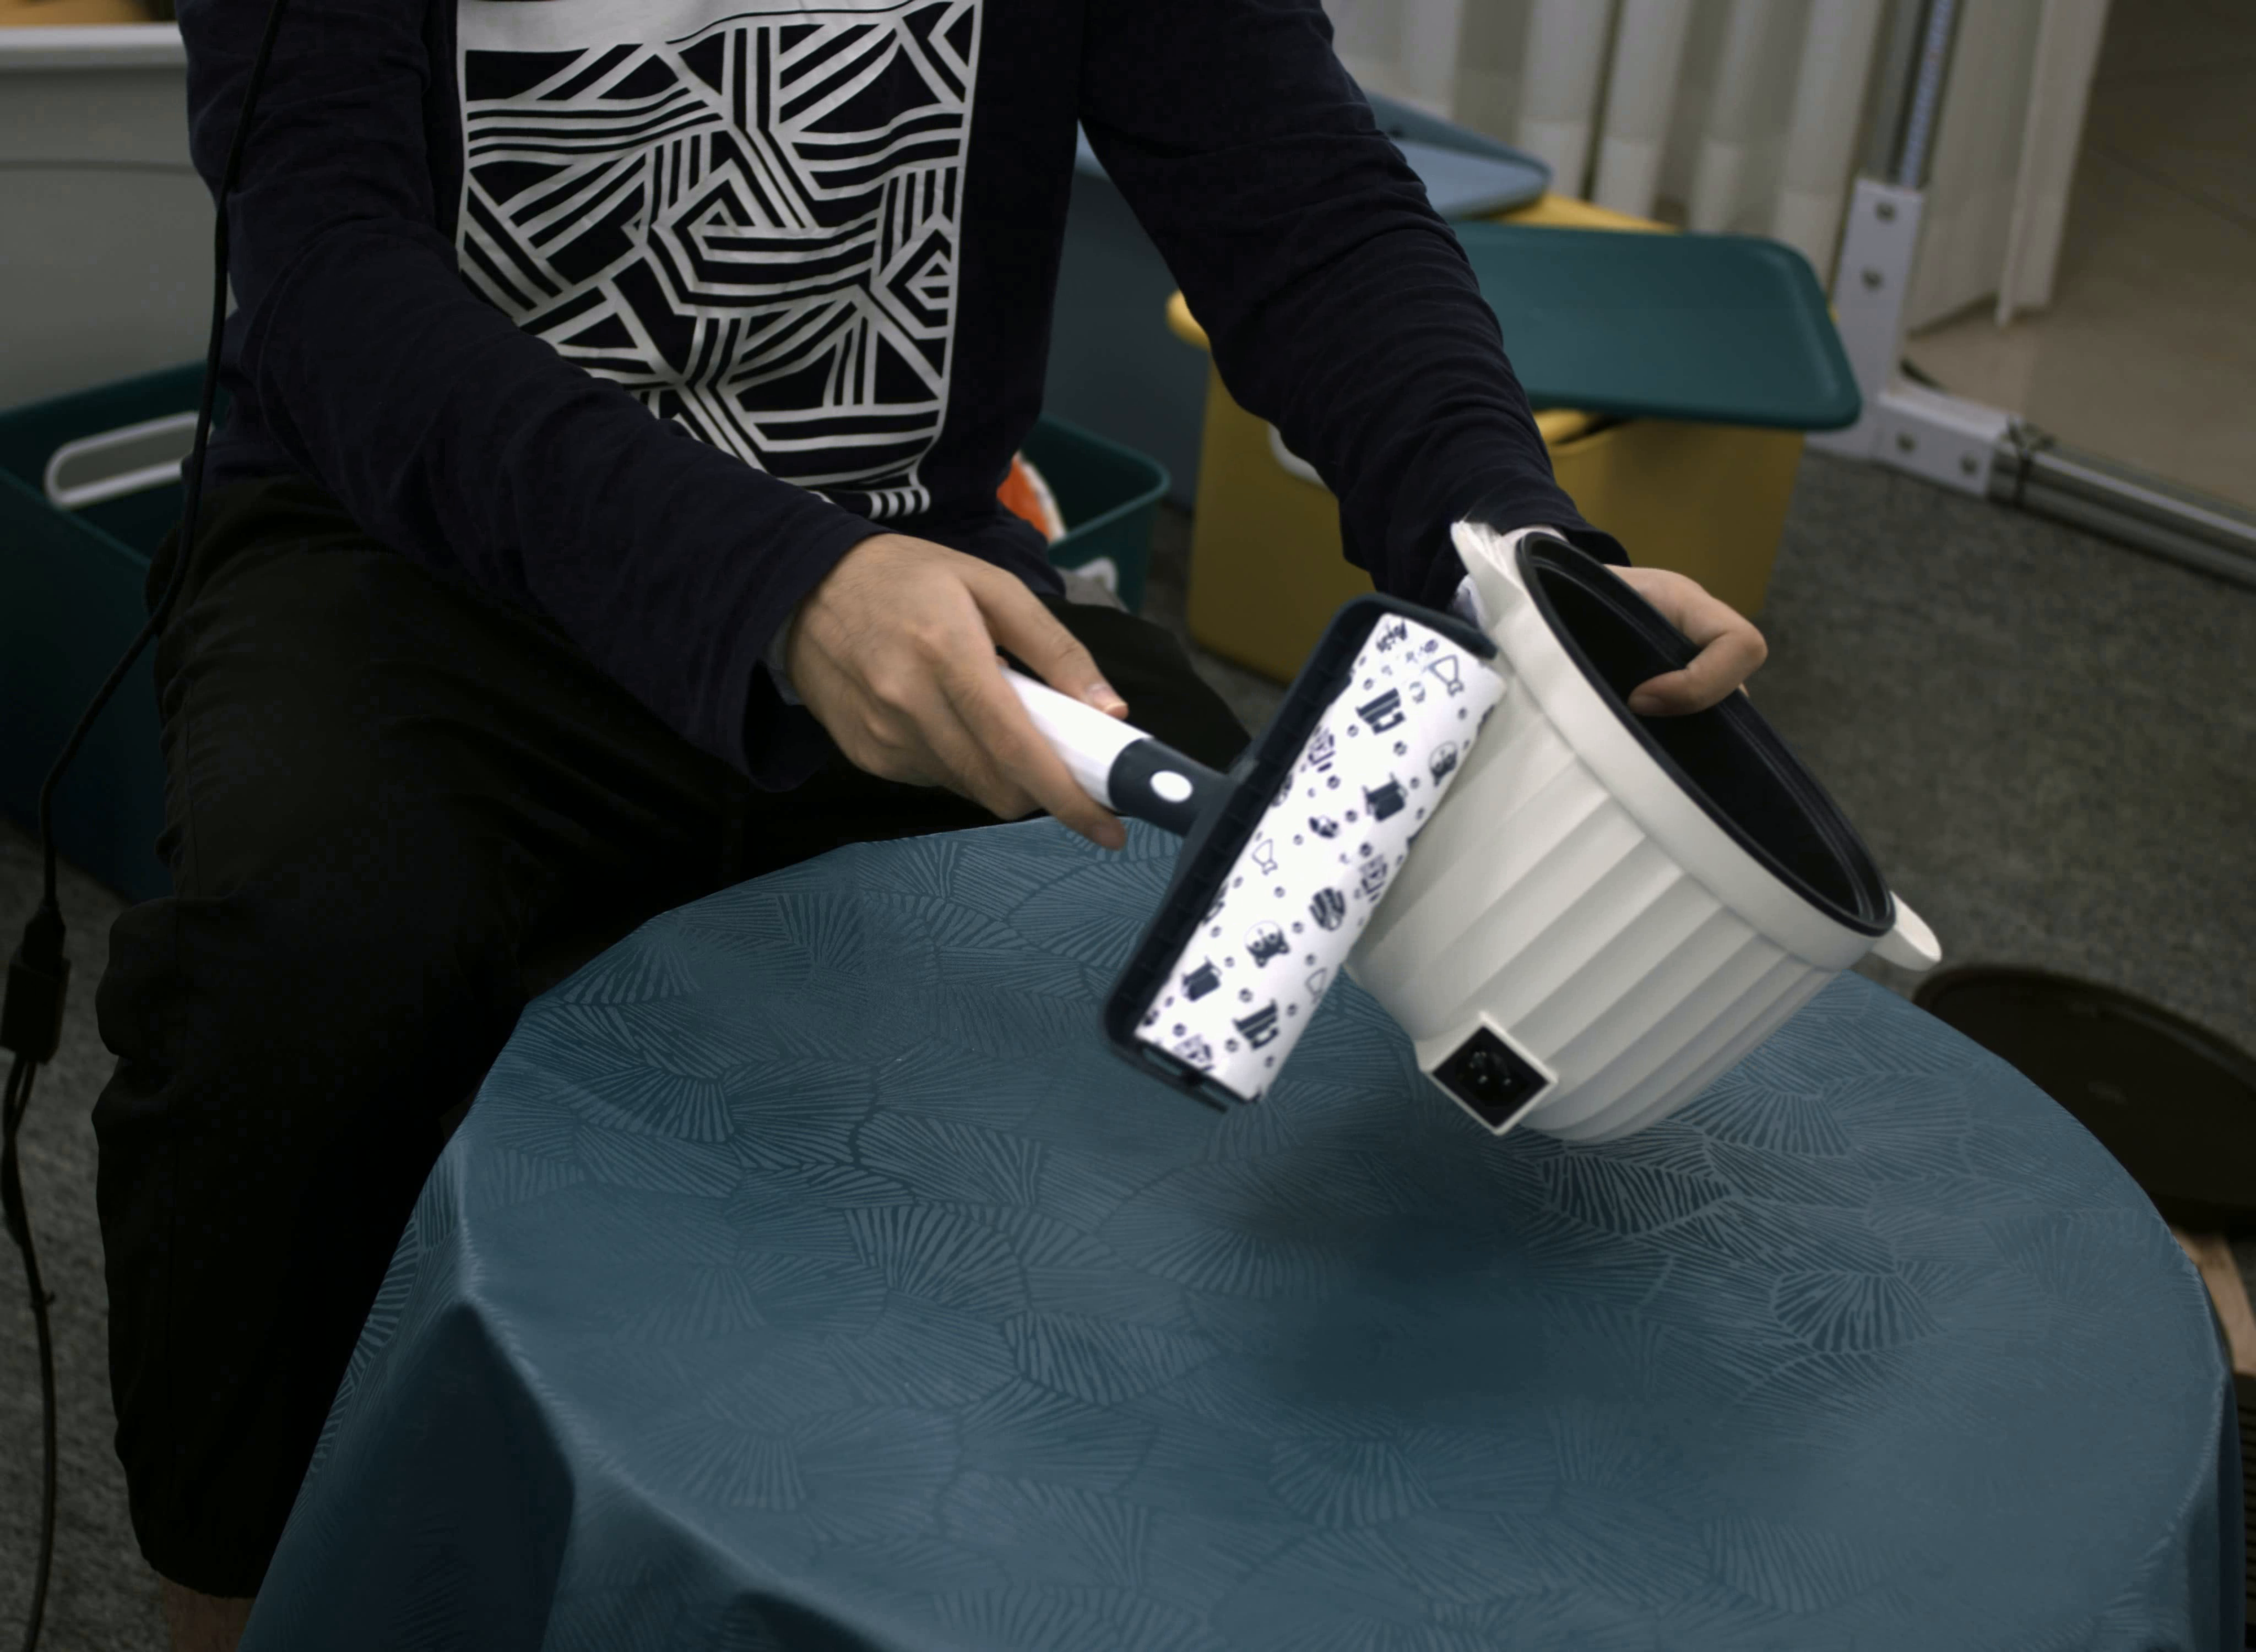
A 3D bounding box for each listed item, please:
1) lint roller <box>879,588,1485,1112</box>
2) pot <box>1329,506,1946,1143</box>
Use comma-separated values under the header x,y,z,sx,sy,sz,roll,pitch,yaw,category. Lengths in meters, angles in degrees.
x,y,z,sx,sy,sz,roll,pitch,yaw,category
-0.009,-0.019,1.782,0.249,0.176,0.050,24,-9,44,lint roller
0.148,0.008,1.801,0.239,0.142,0.192,41,20,-20,pot
